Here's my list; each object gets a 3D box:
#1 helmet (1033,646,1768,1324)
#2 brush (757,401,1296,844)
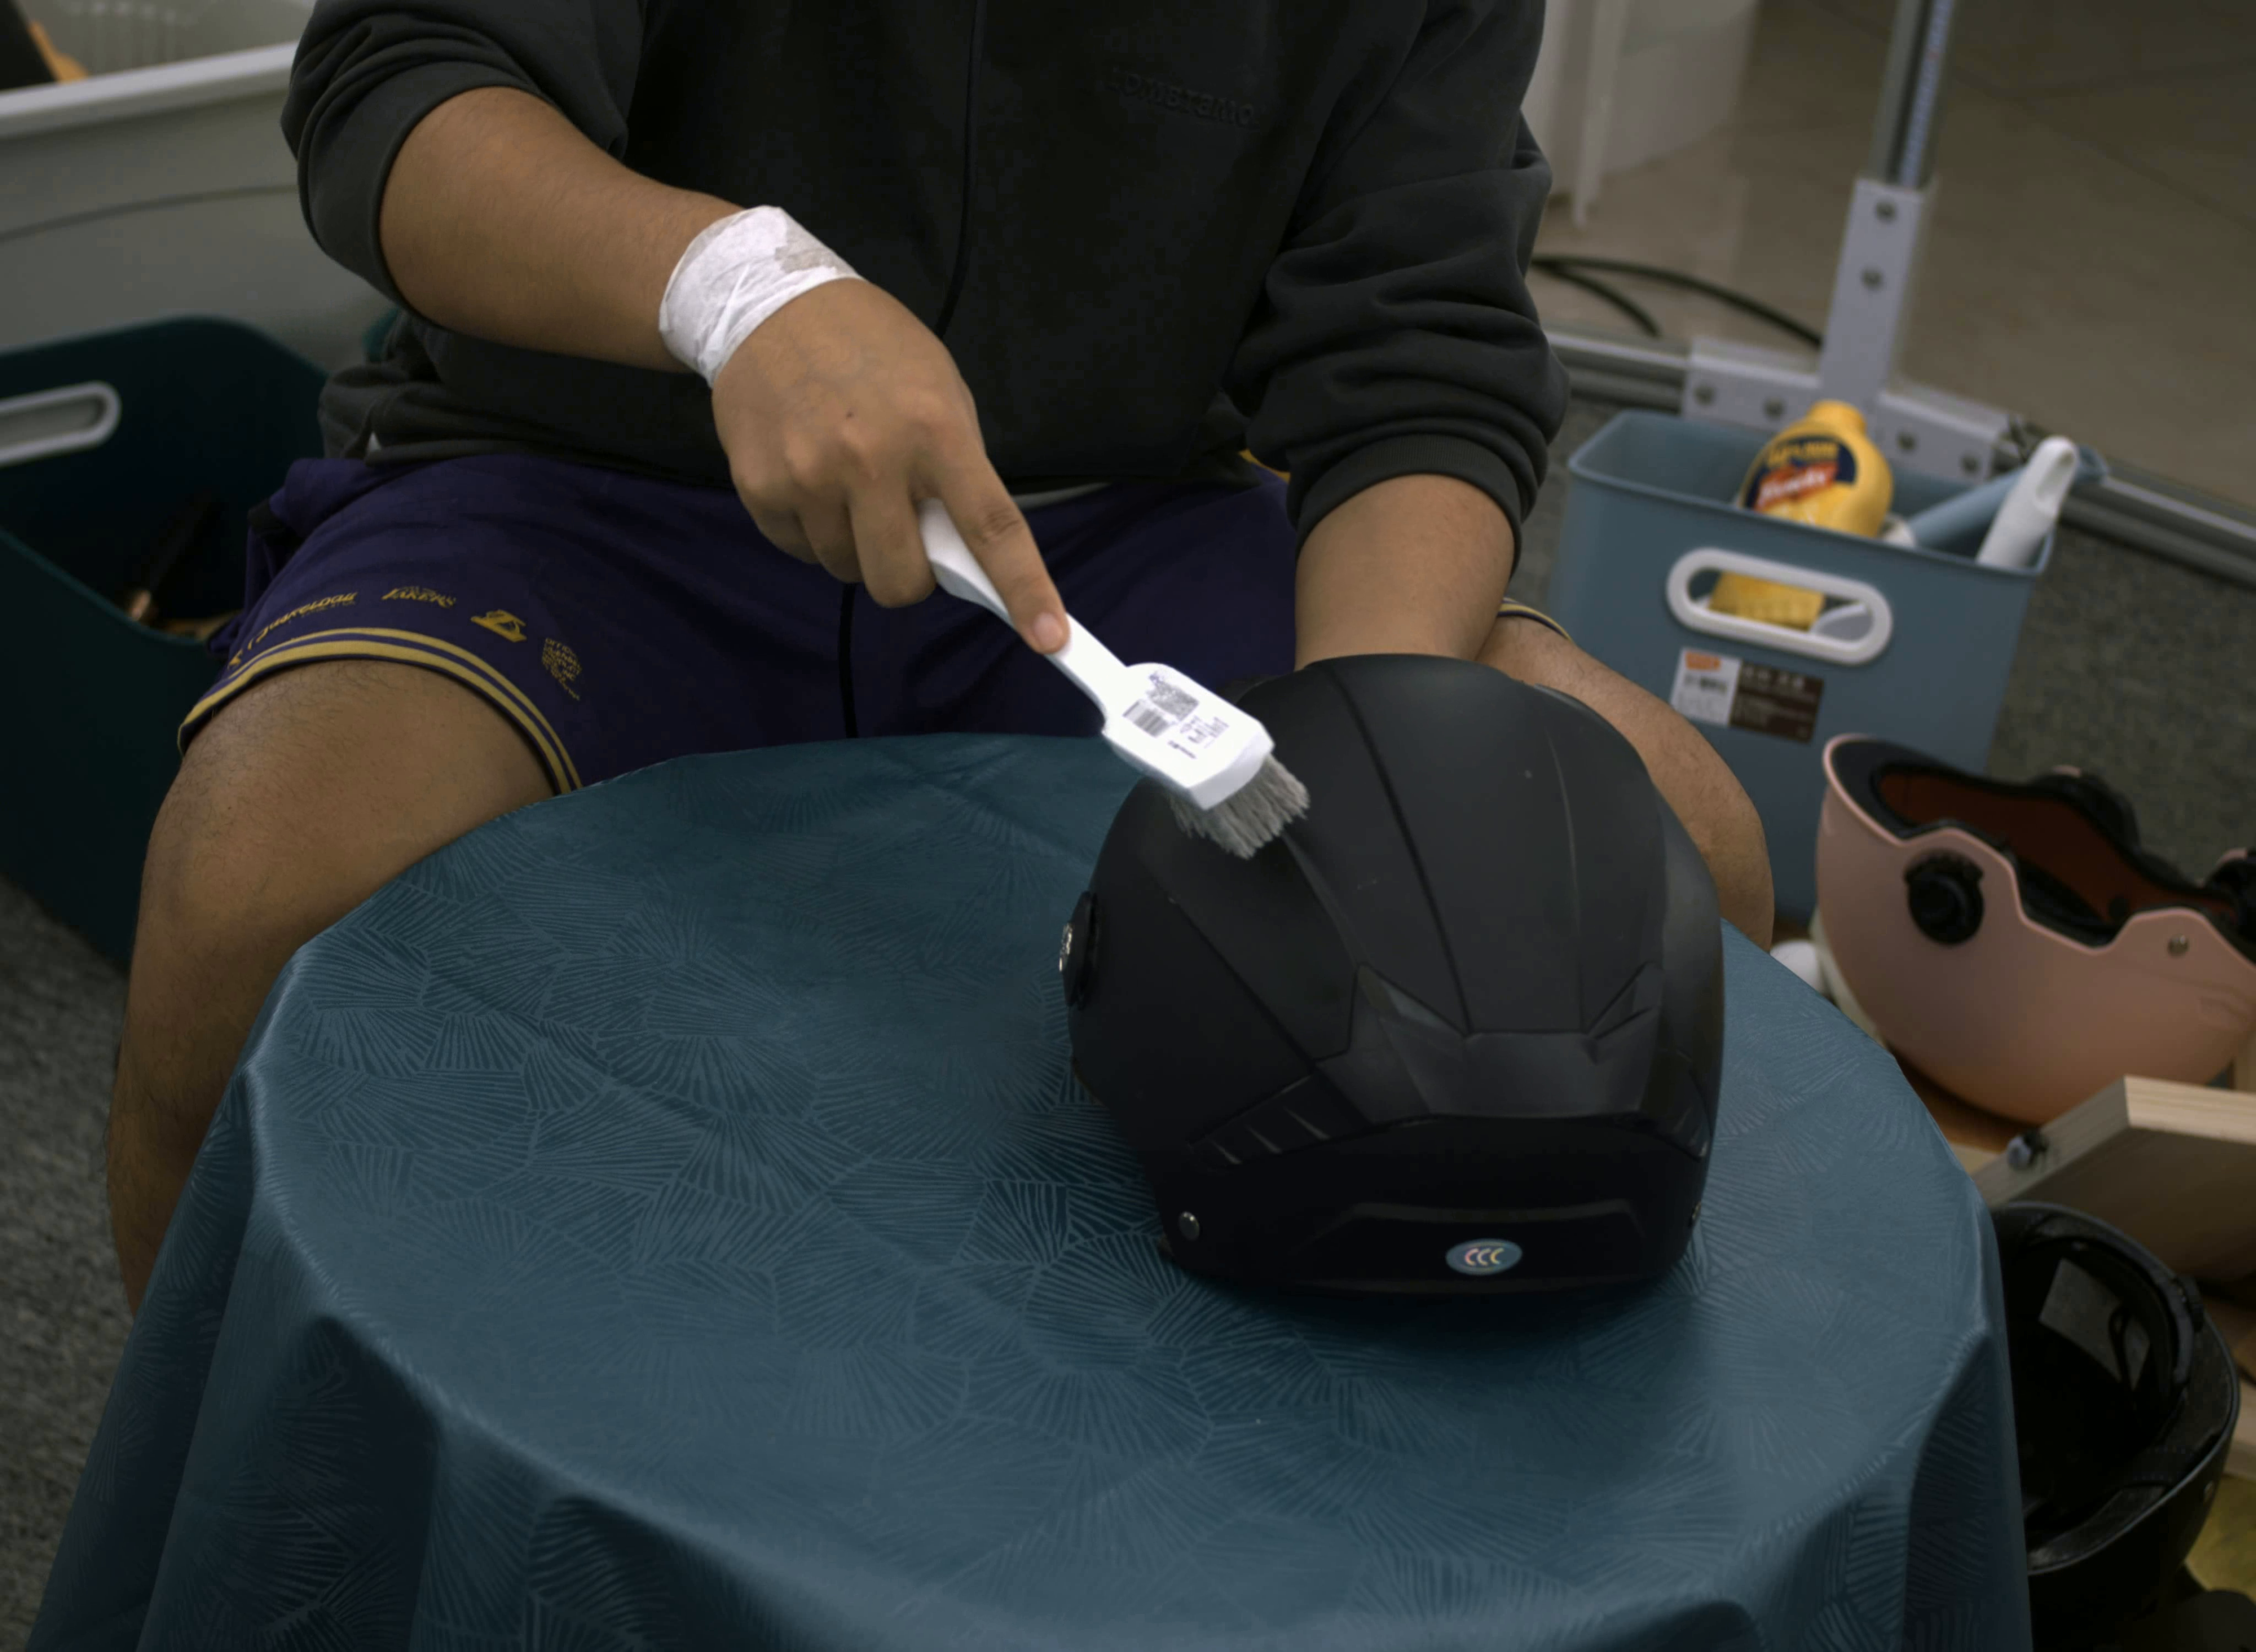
[{"bbox_3d":[0.101,0.034,1.794,0.245,0.171,0.279,2,43,-12],"label":"helmet"},{"bbox_3d":[-0.036,-0.068,1.757,0.034,0.050,0.245,-44,55,-12],"label":"brush"}]
